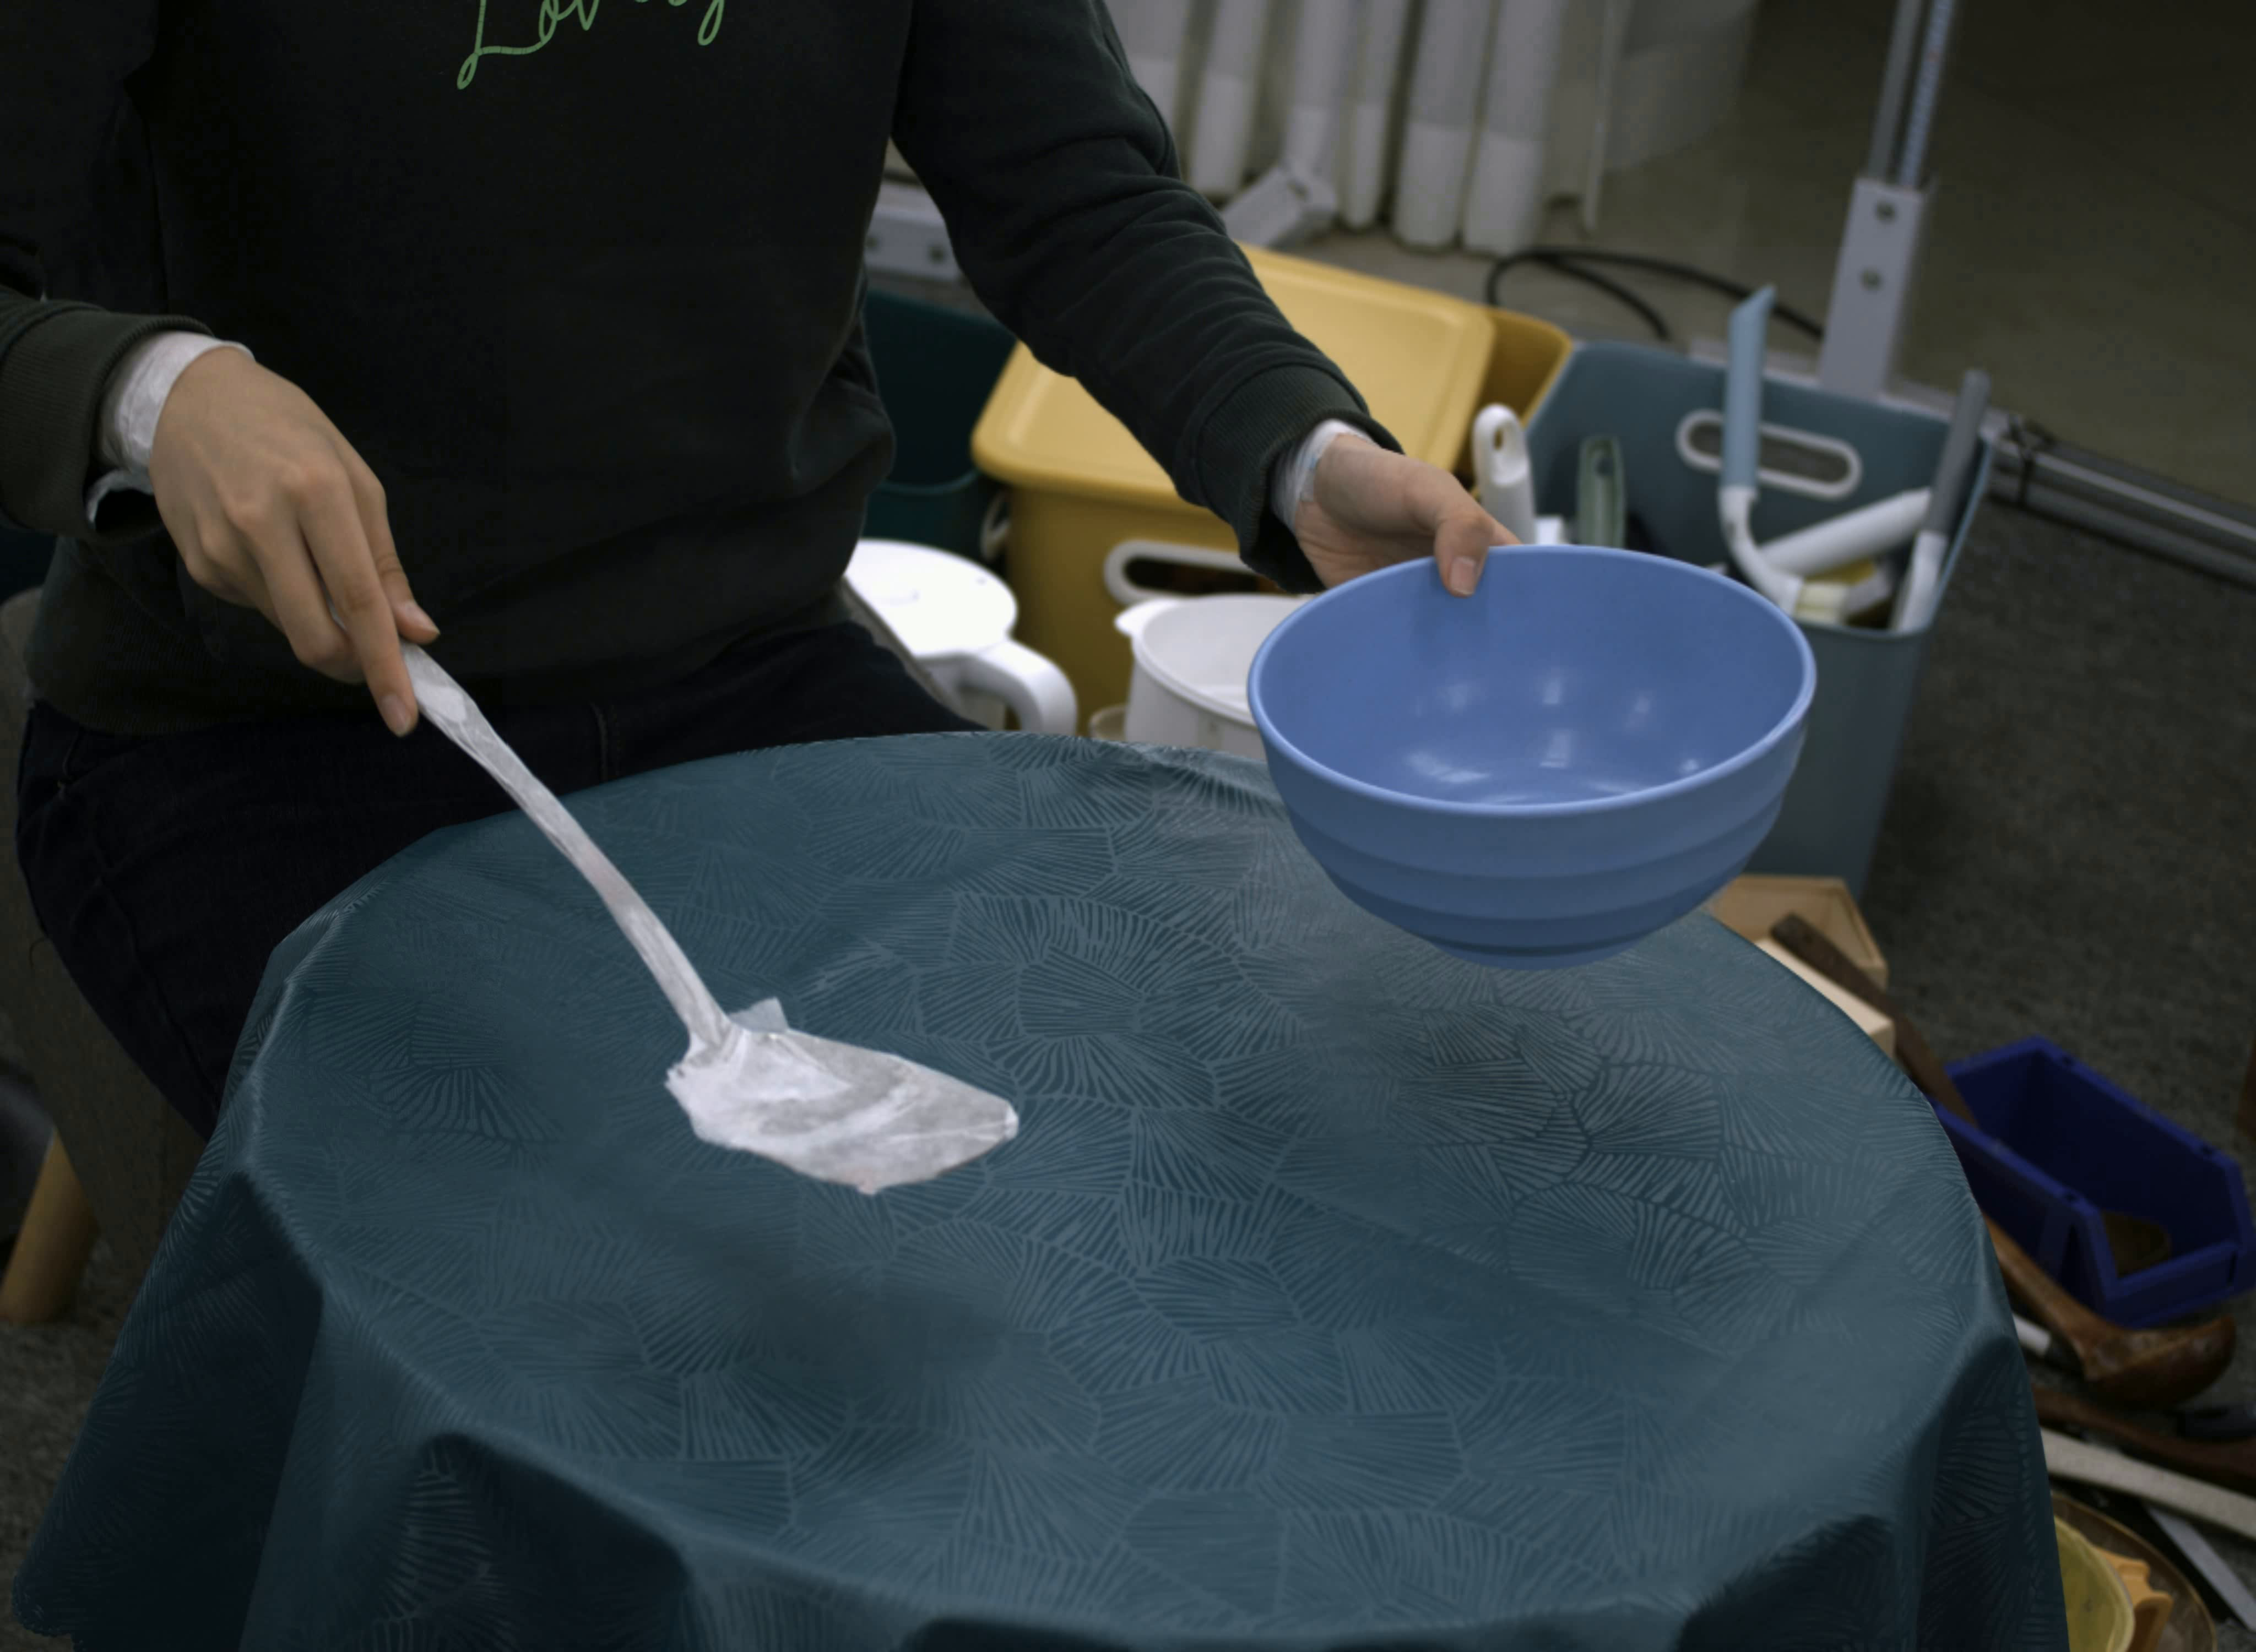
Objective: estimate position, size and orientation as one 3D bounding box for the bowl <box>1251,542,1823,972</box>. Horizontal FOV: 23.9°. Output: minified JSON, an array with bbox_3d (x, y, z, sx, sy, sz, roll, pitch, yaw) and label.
[{"bbox_3d":[0.143,-0.013,1.853,0.196,0.095,0.198,-3,30,1],"label":"bowl"}]

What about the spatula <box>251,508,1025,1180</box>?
[{"bbox_3d":[-0.178,-0.002,1.728,0.098,0.044,0.367,-16,54,-47],"label":"spatula"}]
